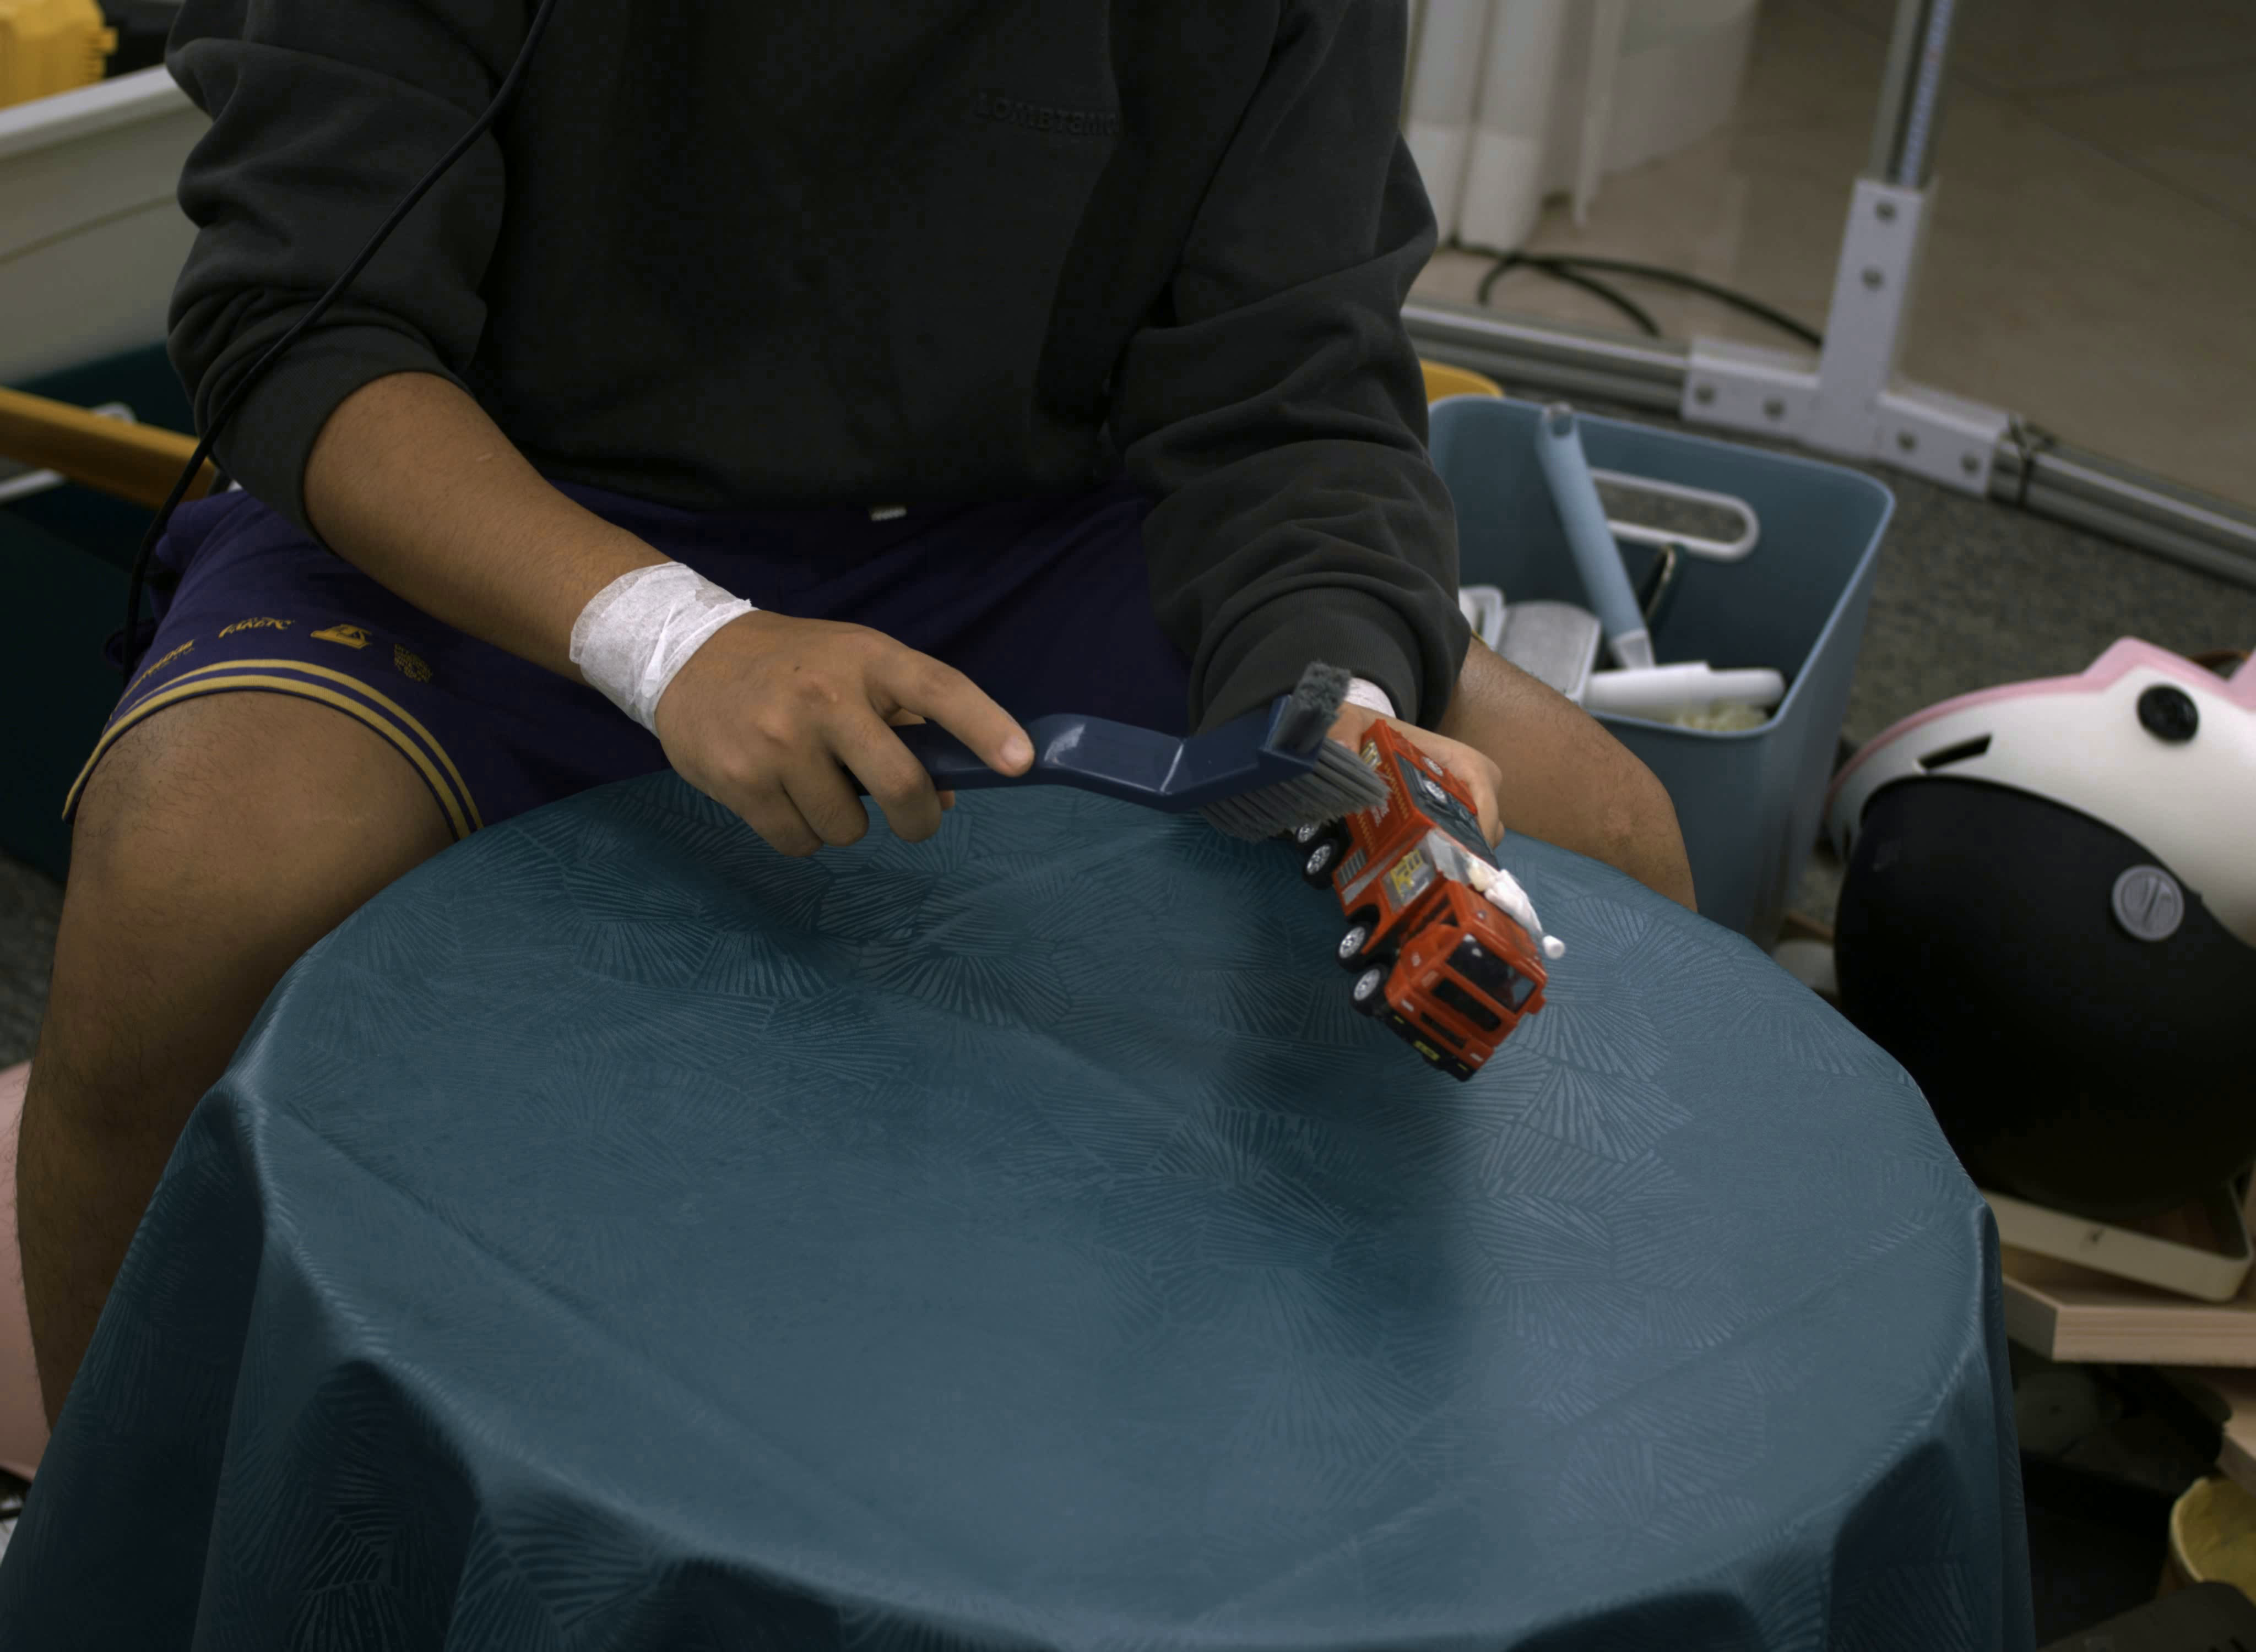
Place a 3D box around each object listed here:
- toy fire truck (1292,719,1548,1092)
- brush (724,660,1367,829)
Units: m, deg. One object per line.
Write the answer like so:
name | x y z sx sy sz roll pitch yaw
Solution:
toy fire truck | 0.102 0.025 1.830 0.053 0.070 0.169 36 15 -24
brush | -0.040 -0.031 1.866 0.274 0.095 0.034 3 59 31
